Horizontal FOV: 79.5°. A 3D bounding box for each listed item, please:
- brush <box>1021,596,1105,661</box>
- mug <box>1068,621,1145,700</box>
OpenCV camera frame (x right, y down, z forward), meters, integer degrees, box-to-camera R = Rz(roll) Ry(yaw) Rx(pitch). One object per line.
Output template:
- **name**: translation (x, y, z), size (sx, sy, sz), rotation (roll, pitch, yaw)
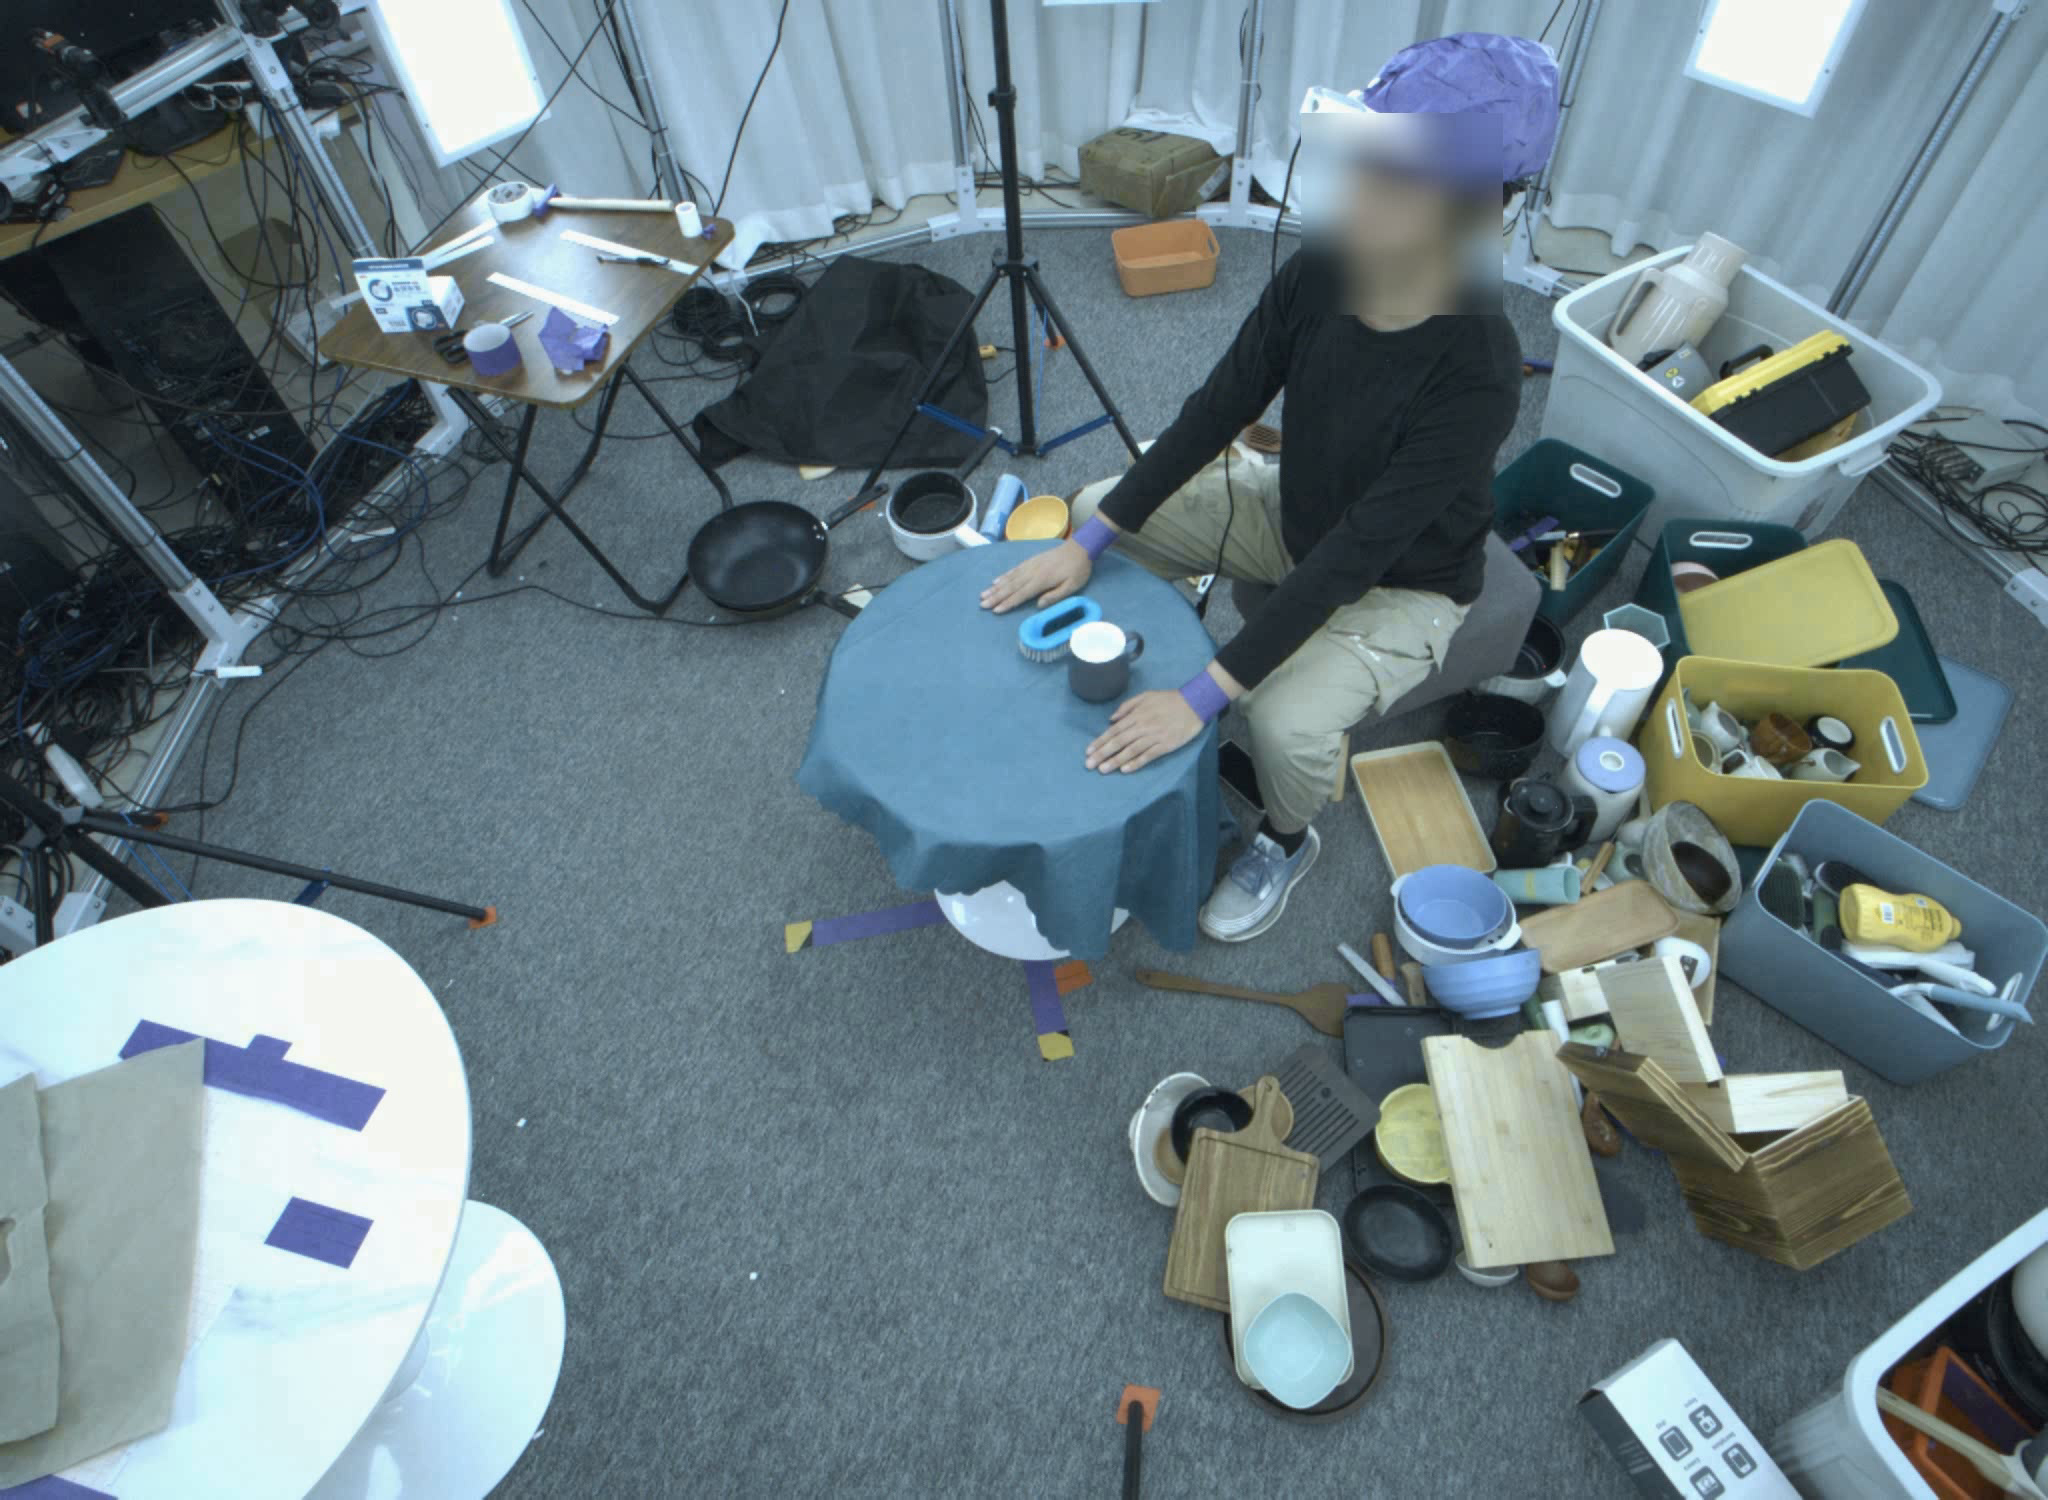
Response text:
- **brush**: translation (0.057, -0.198, 1.888), size (0.143, 0.064, 0.082), rotation (-27, 53, -17)
- **mug**: translation (0.124, -0.138, 1.825), size (0.124, 0.091, 0.092), rotation (-25, 58, -12)
